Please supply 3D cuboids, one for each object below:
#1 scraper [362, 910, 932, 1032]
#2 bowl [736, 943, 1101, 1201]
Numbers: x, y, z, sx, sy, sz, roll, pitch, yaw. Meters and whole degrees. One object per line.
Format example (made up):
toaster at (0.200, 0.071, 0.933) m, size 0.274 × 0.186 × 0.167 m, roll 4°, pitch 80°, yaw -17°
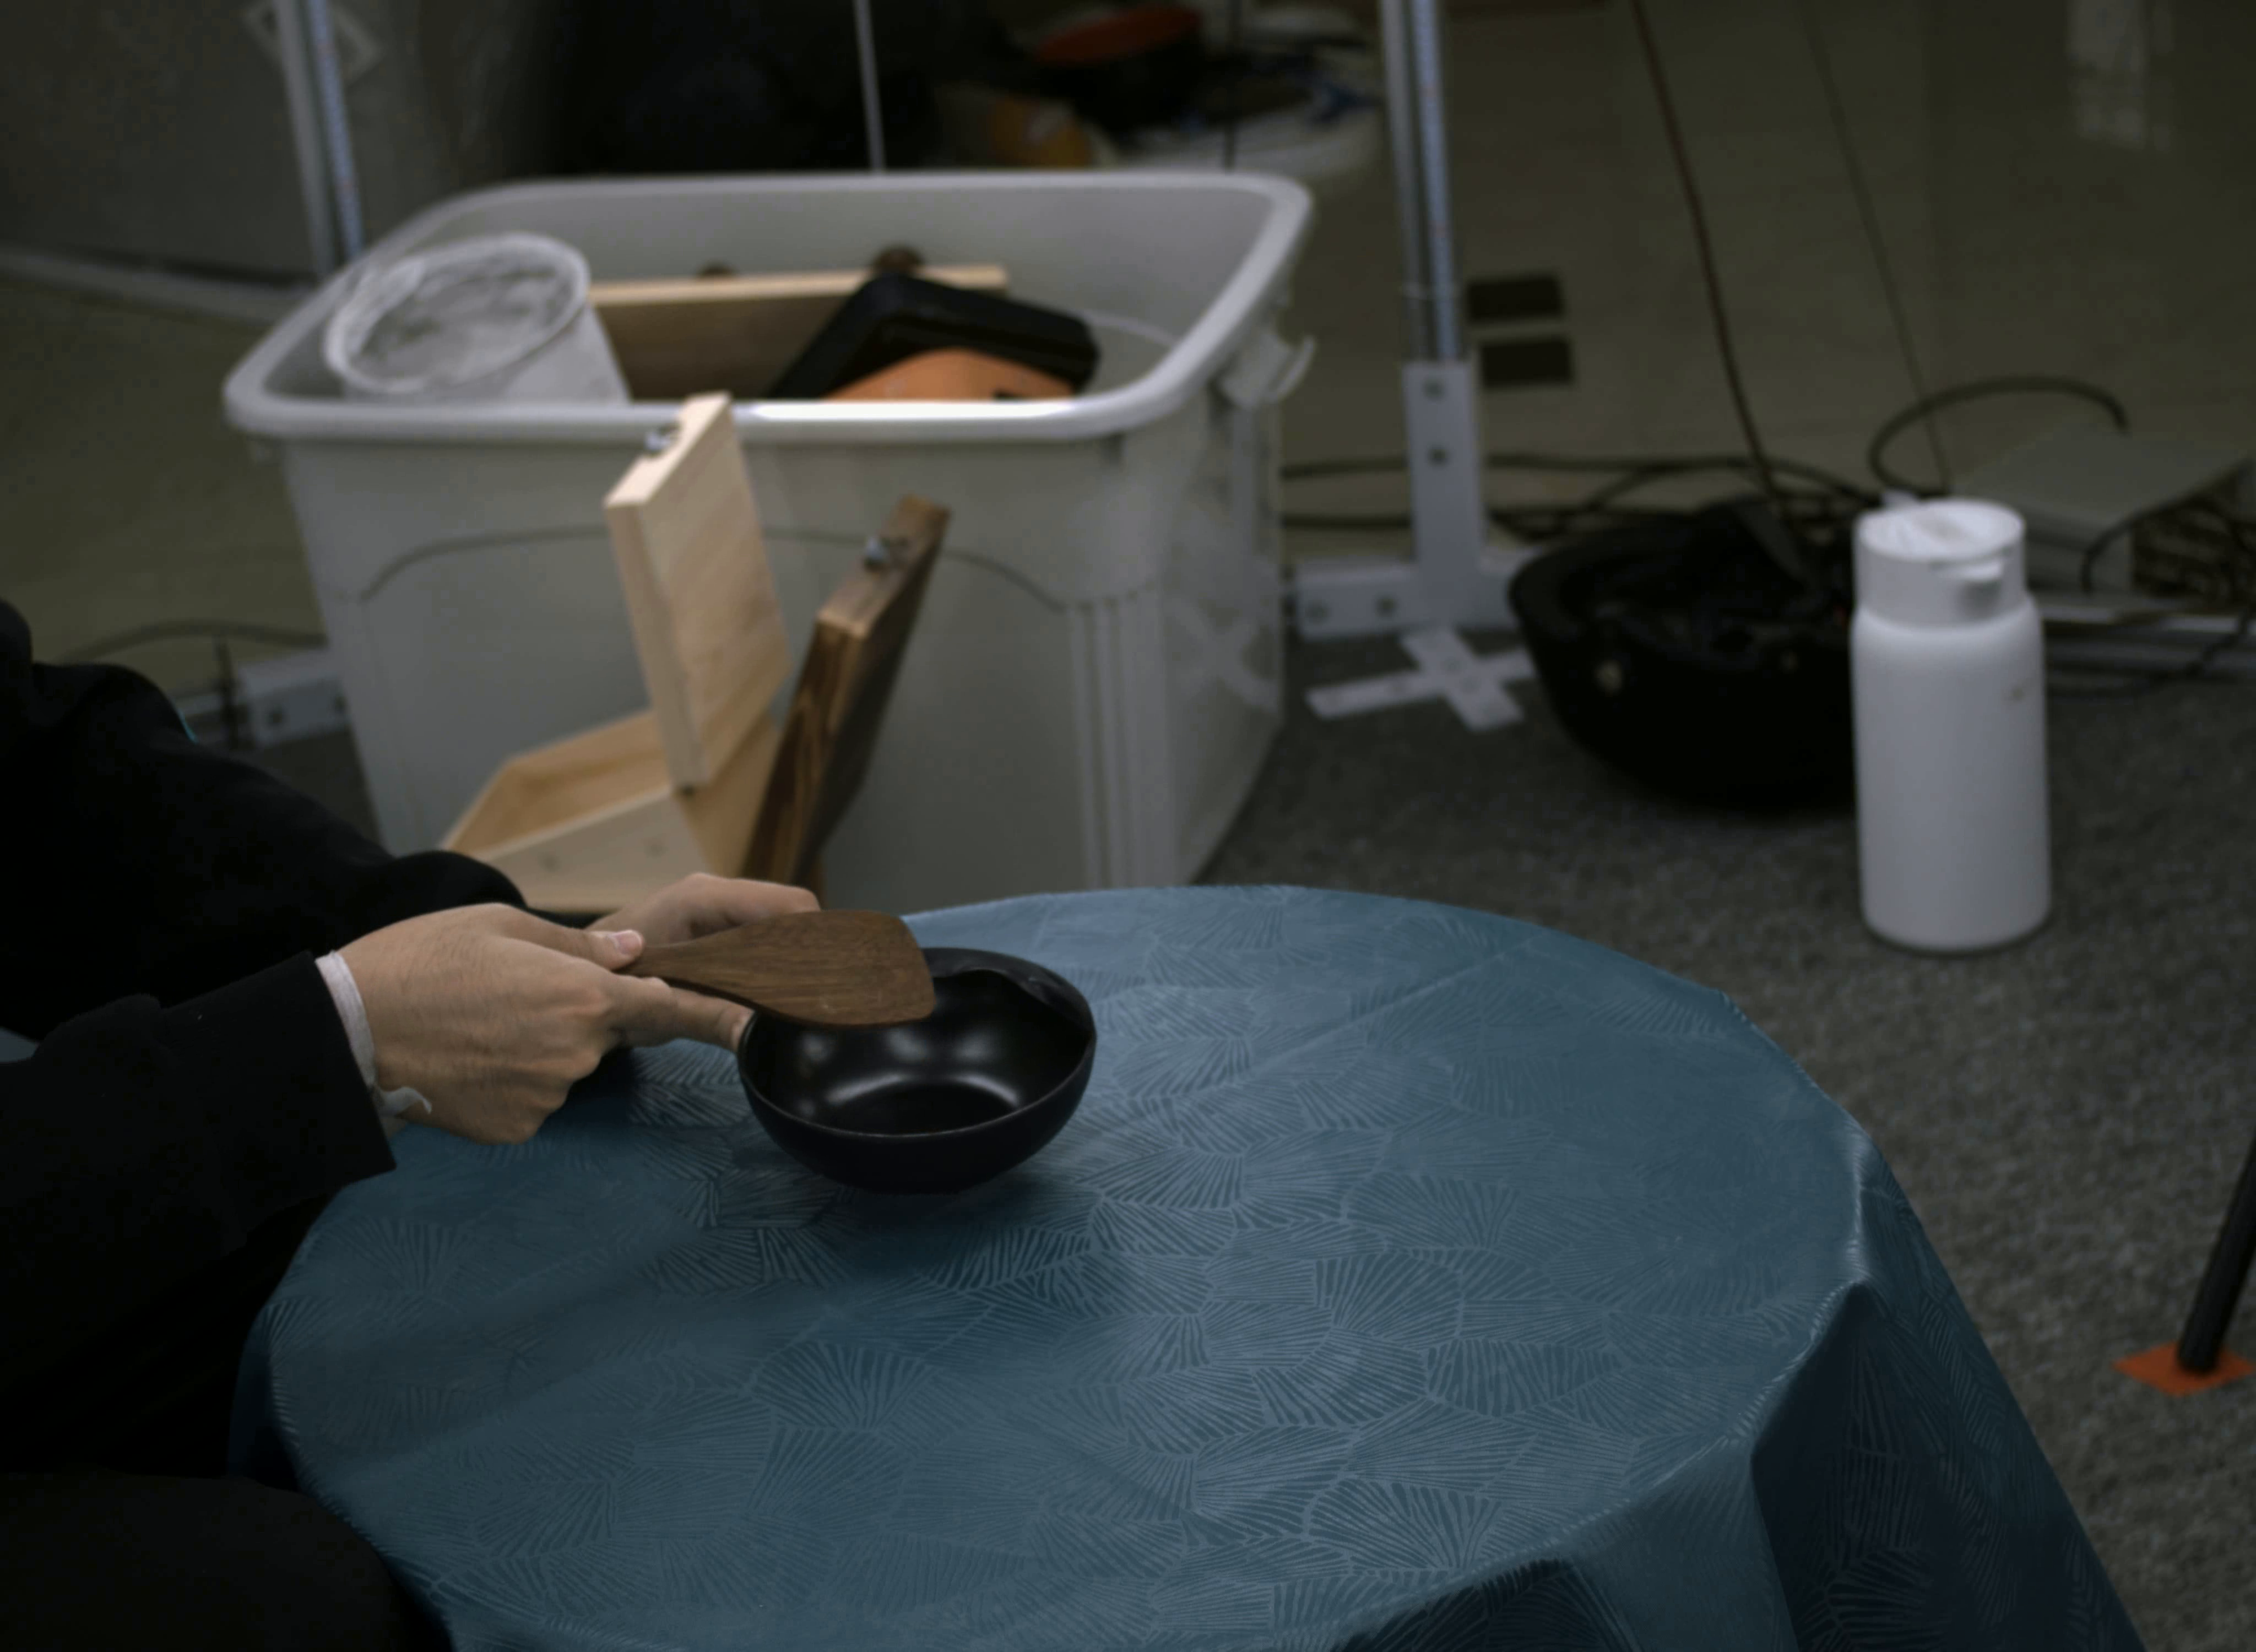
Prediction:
scraper at (-0.178, 0.051, 2.091) m, size 0.211 × 0.011 × 0.074 m, roll 3°, pitch 34°, yaw -19°
bowl at (-0.079, 0.102, 2.175) m, size 0.140 × 0.051 × 0.137 m, roll -3°, pitch 33°, yaw 2°
